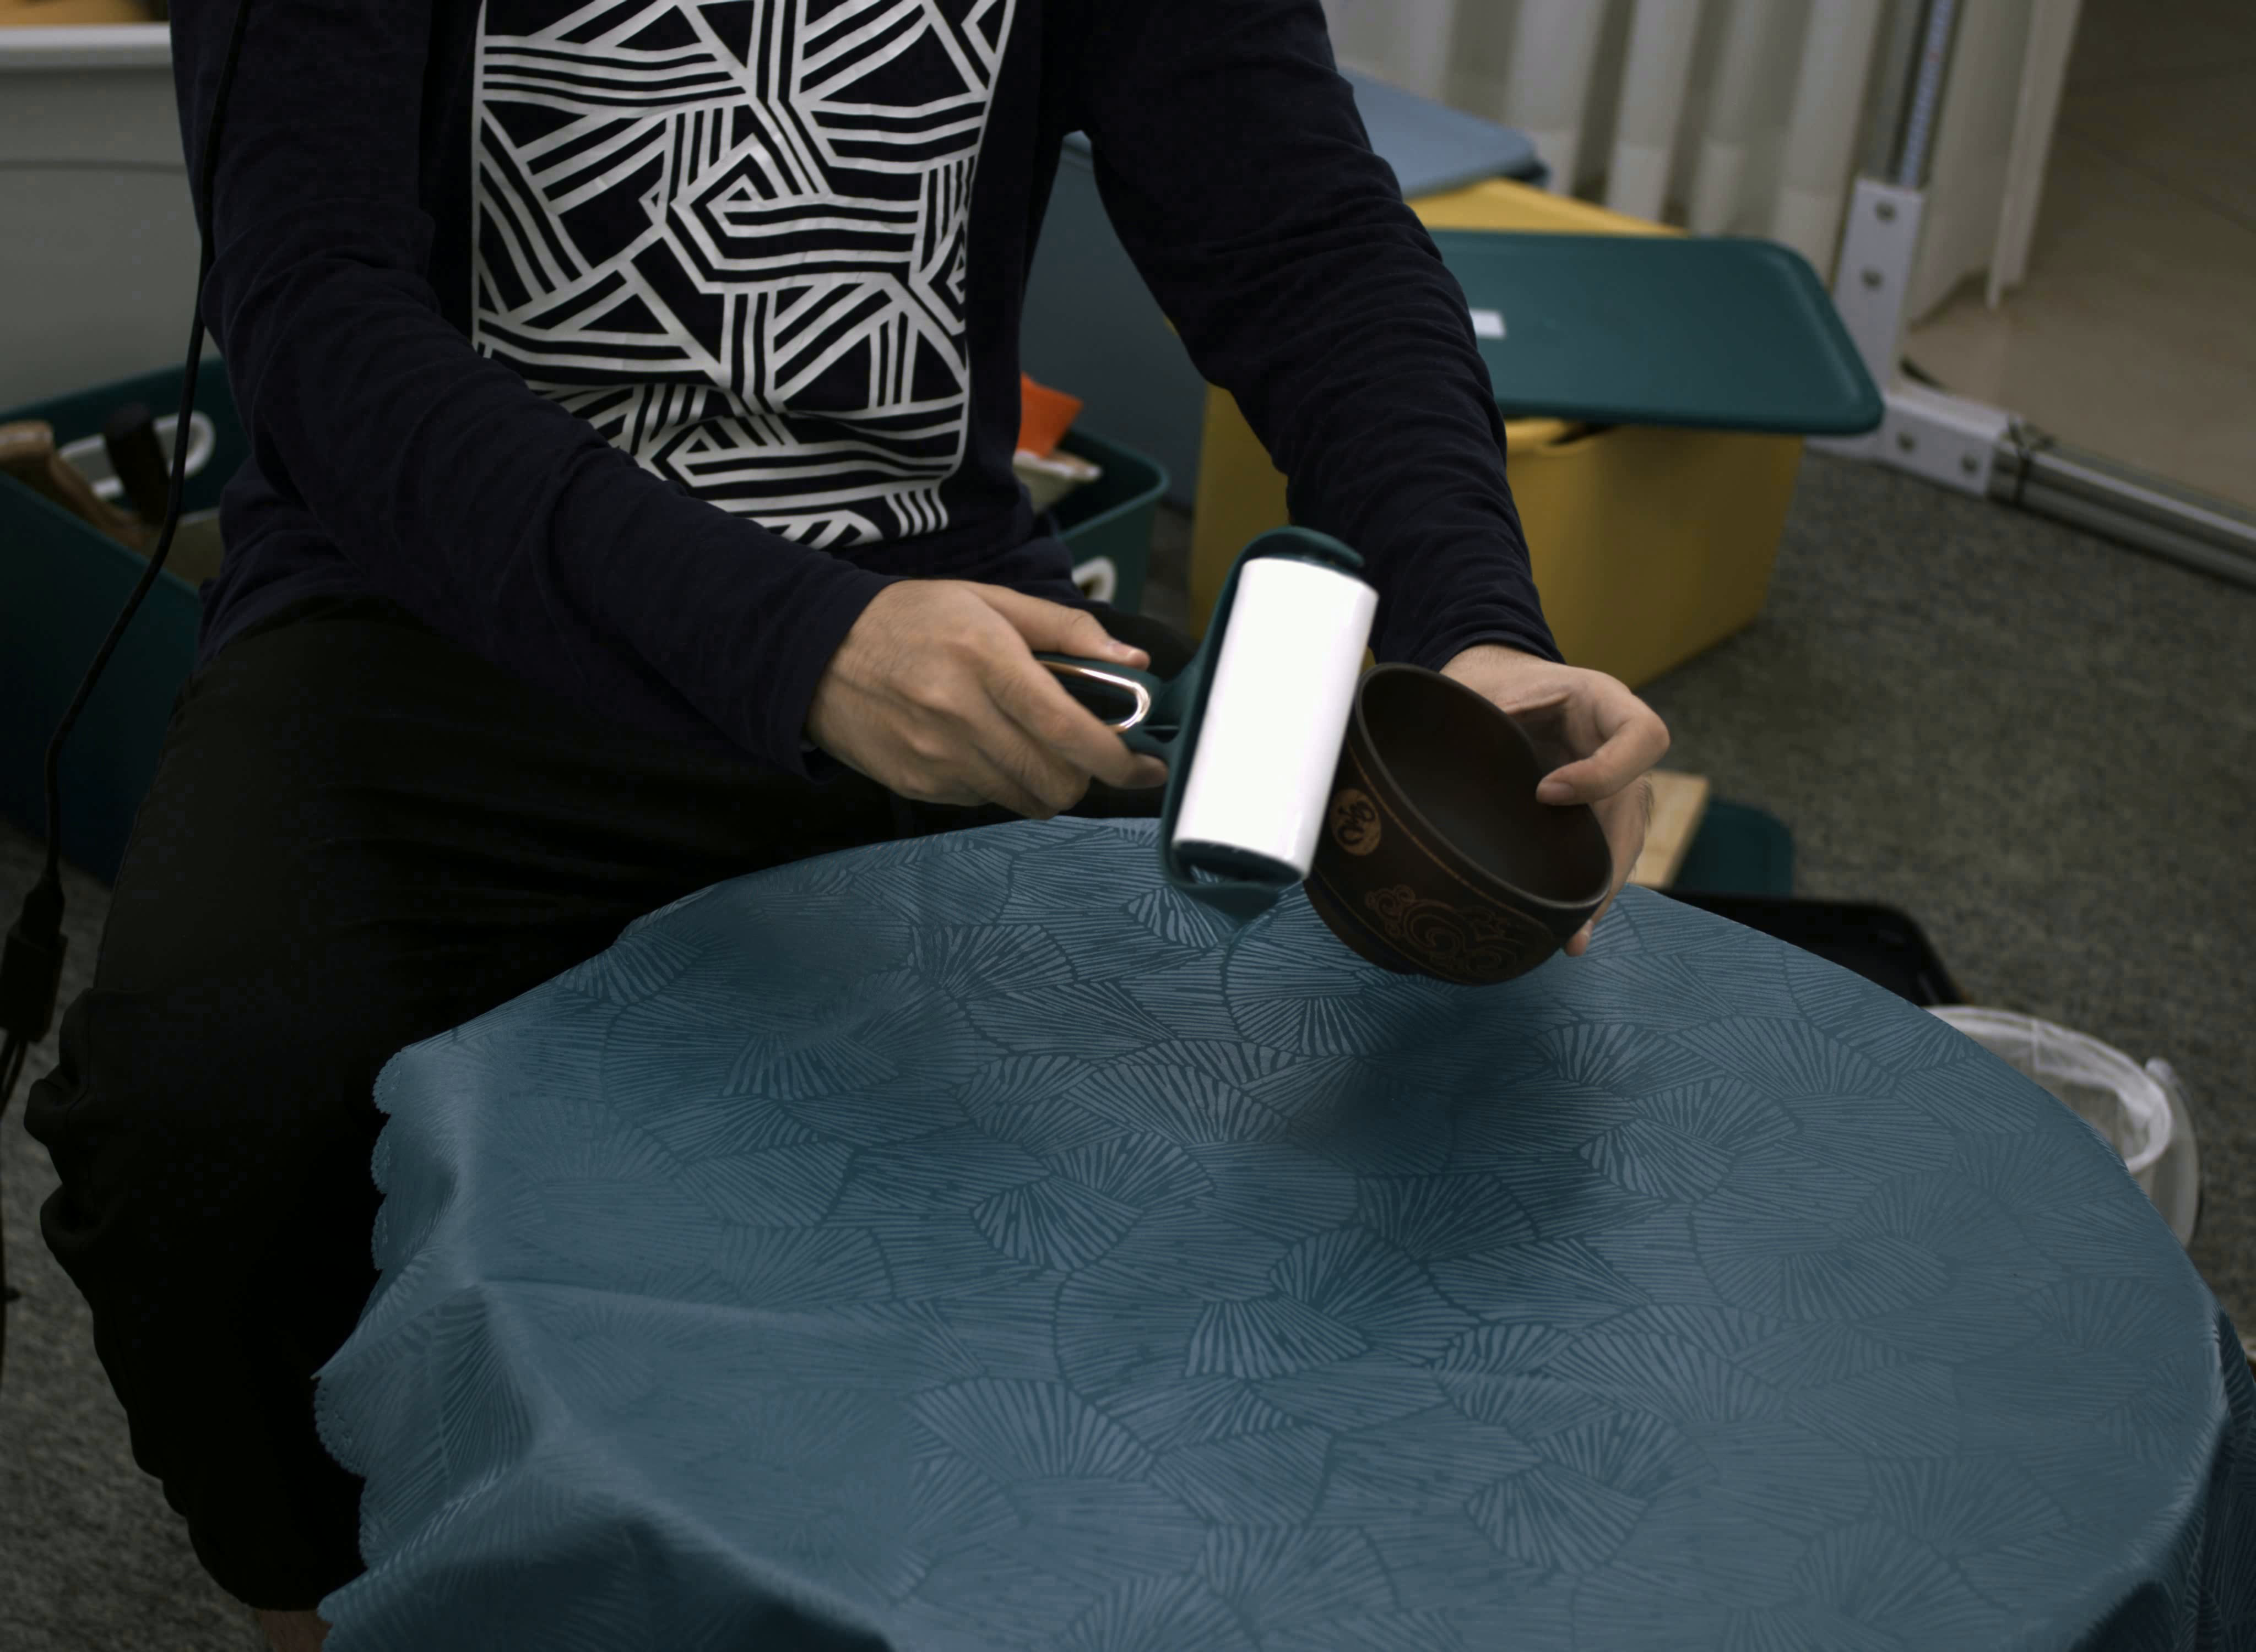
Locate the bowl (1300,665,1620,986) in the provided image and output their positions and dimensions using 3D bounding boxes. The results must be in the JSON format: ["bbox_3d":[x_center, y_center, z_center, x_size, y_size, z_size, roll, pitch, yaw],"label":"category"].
[{"bbox_3d":[0.105,0.009,1.842,0.117,0.070,0.119,28,29,-17],"label":"bowl"}]

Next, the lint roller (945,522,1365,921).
[{"bbox_3d":[-0.006,-0.039,1.824,0.181,0.135,0.048,5,-15,39],"label":"lint roller"}]
